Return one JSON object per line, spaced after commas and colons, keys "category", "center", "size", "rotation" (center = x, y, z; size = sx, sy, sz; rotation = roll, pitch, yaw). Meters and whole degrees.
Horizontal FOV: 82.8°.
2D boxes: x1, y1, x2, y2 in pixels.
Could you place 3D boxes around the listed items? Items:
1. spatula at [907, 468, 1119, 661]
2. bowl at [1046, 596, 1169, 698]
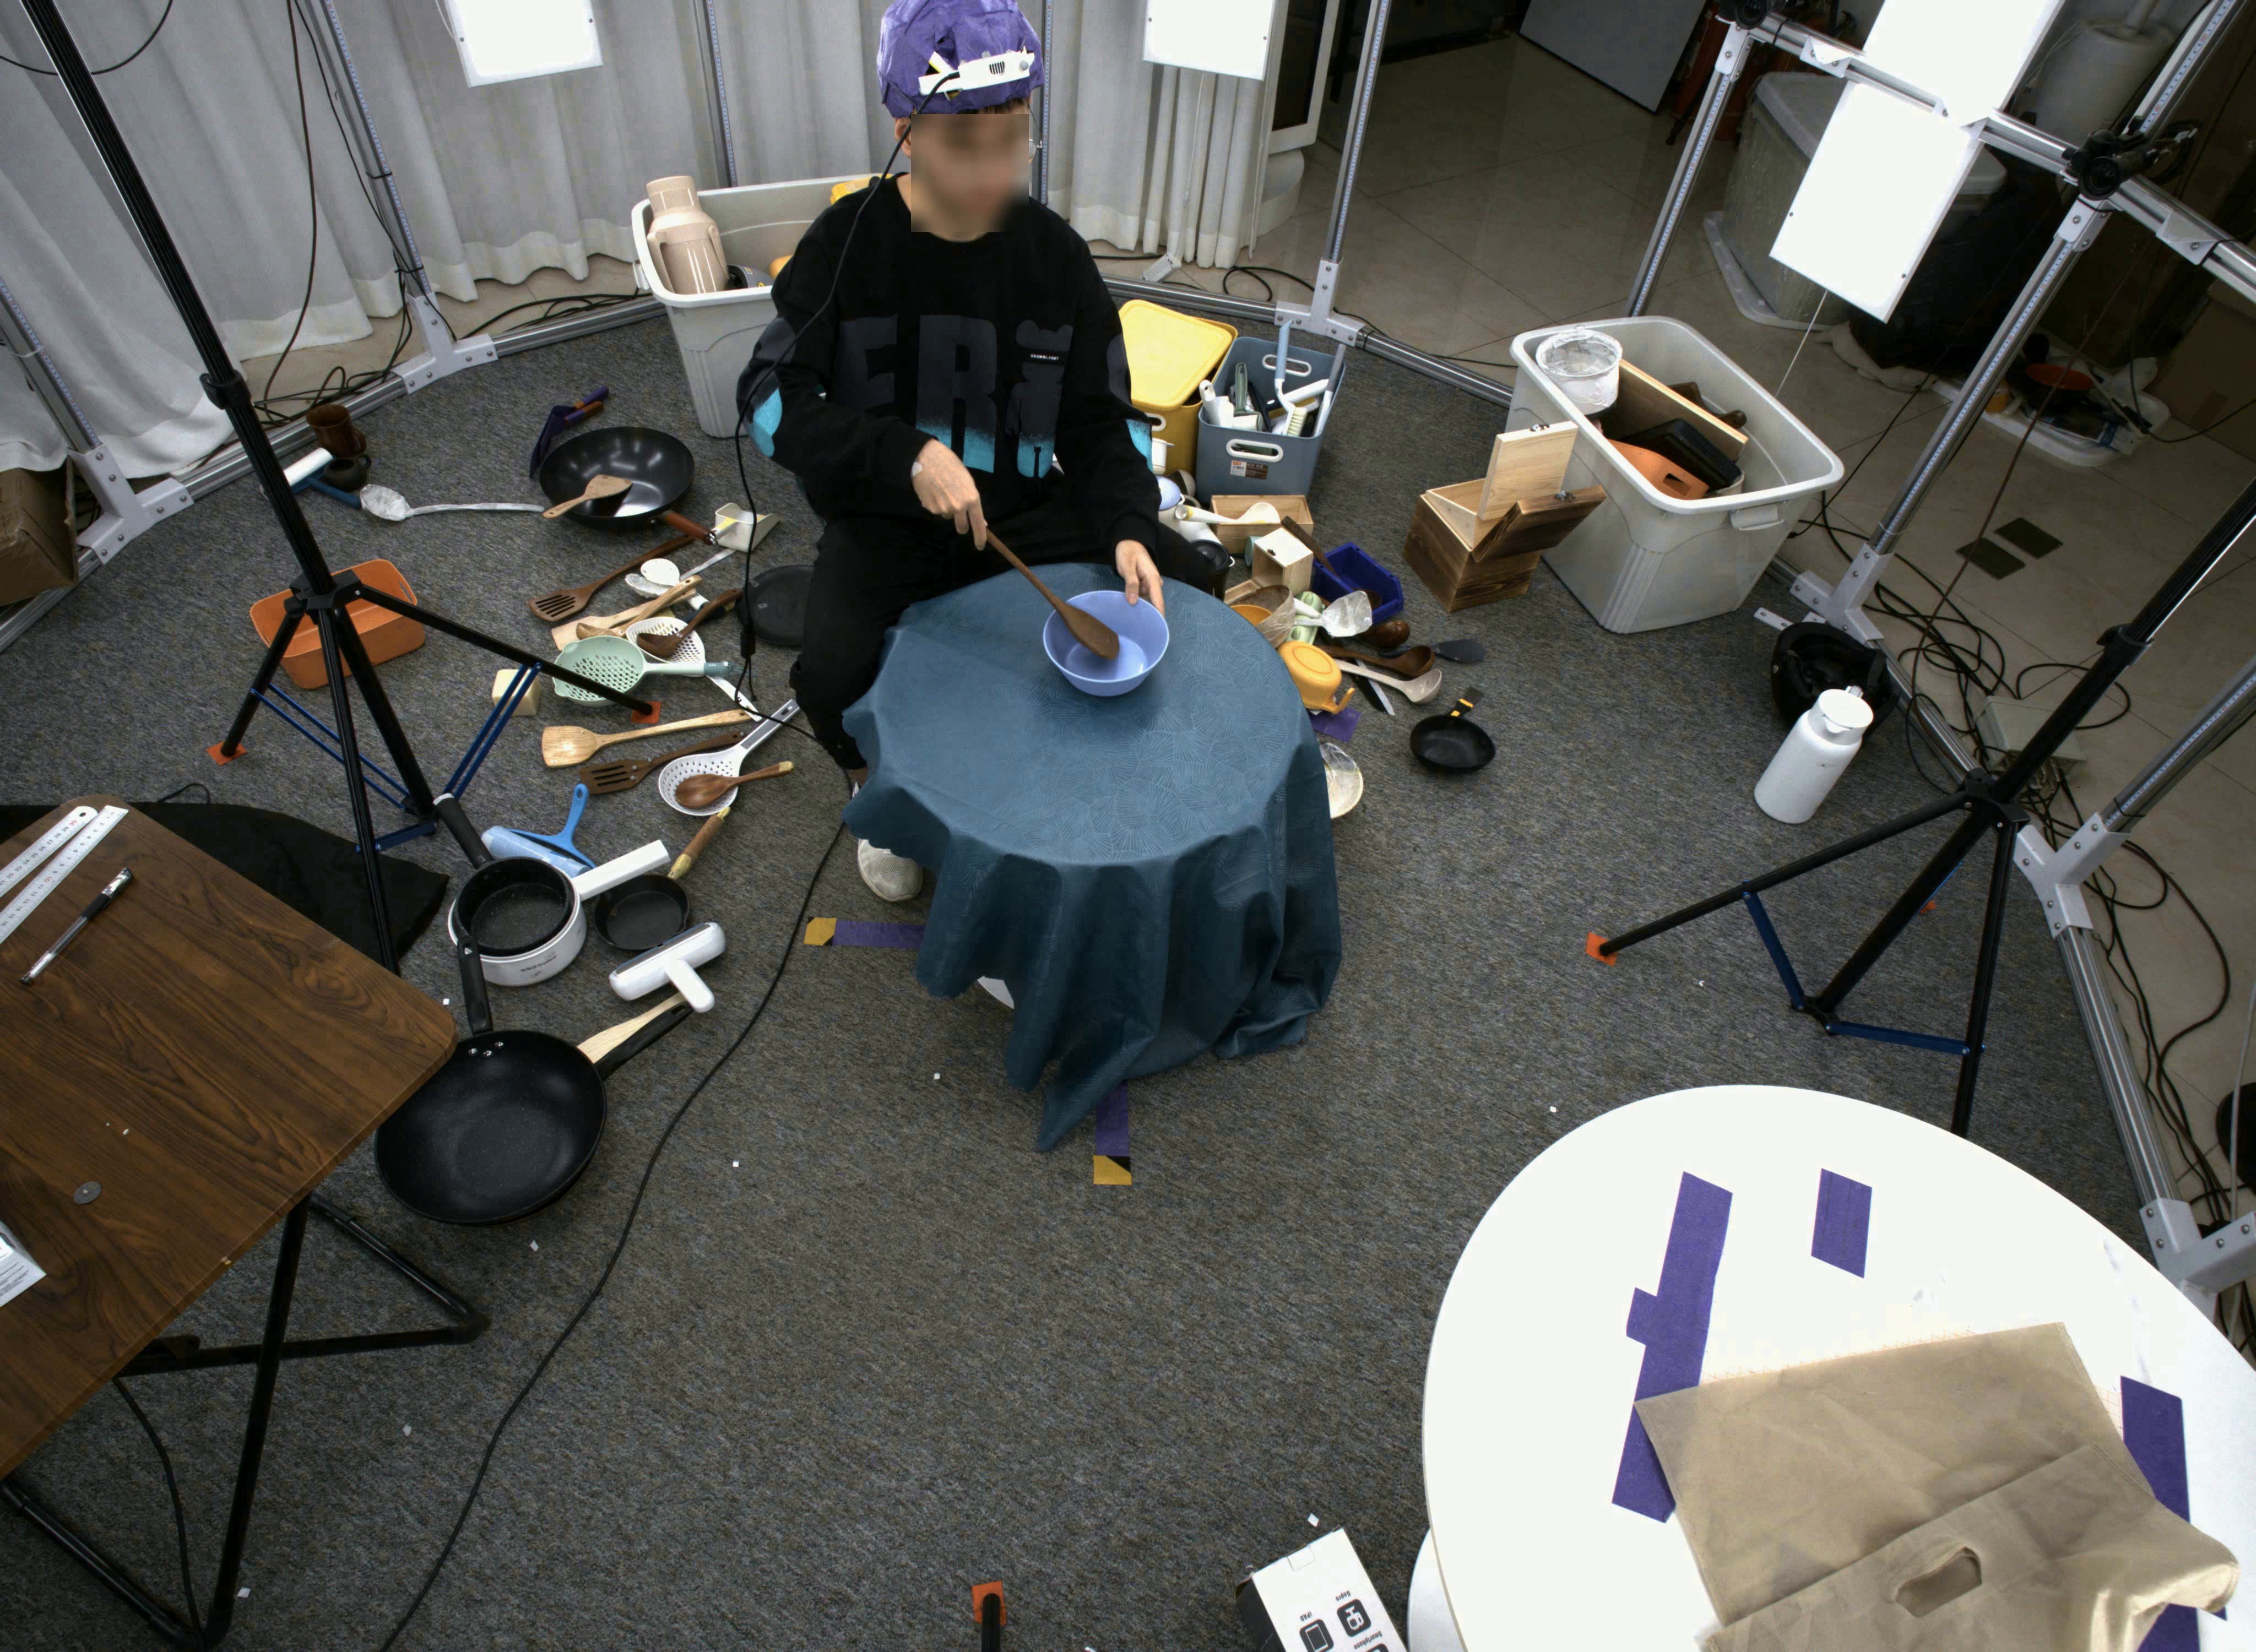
{"category": "spatula", "center": [-0.156, -0.367, 1.806], "size": [0.382, 0.015, 0.098], "rotation": [41, 27, -13]}
{"category": "bowl", "center": [-0.029, -0.248, 1.843], "size": [0.176, 0.068, 0.180], "rotation": [0, 51, 0]}
